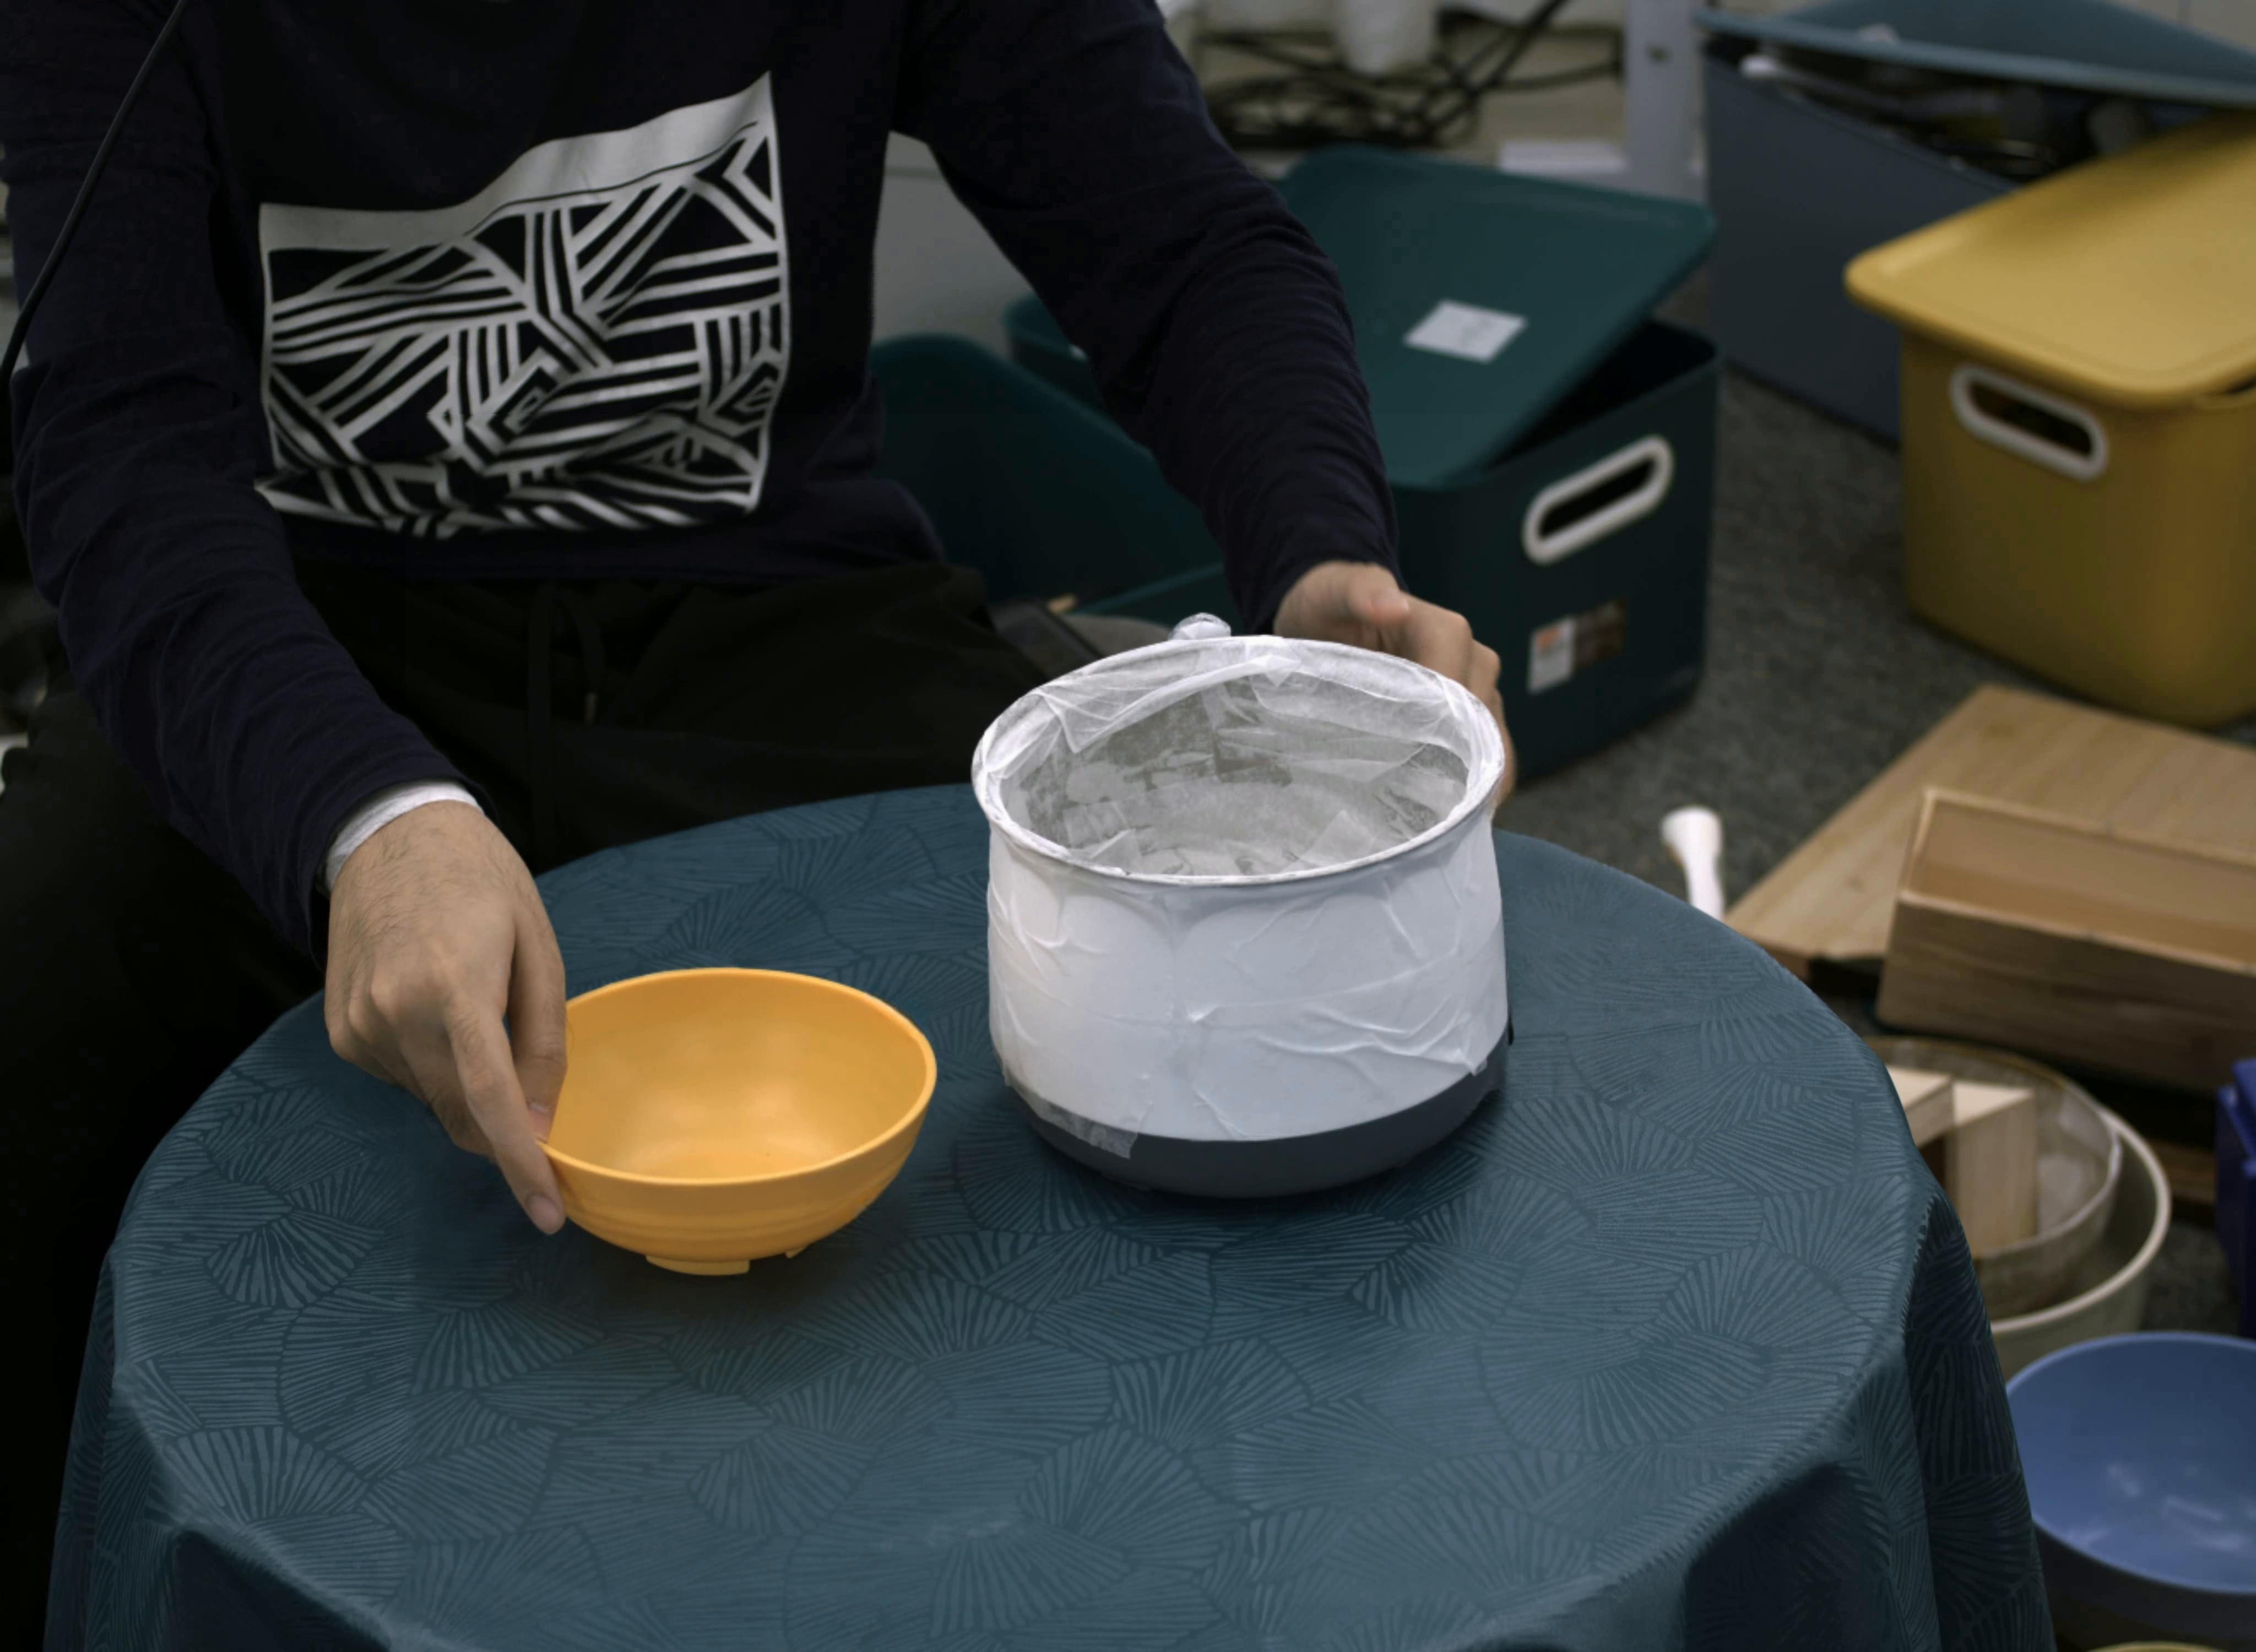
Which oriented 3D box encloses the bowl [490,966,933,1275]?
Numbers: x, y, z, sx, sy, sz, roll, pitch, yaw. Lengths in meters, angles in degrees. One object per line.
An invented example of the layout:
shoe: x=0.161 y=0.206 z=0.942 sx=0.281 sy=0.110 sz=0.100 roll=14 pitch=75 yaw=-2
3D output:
bowl: x=-0.135 y=0.105 z=1.839 sx=0.144 sy=0.059 sz=0.147 roll=0 pitch=26 yaw=0

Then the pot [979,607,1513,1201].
pot: x=0.035 y=0.019 z=1.908 sx=0.178 sy=0.135 sz=0.237 roll=-3 pitch=28 yaw=-7
